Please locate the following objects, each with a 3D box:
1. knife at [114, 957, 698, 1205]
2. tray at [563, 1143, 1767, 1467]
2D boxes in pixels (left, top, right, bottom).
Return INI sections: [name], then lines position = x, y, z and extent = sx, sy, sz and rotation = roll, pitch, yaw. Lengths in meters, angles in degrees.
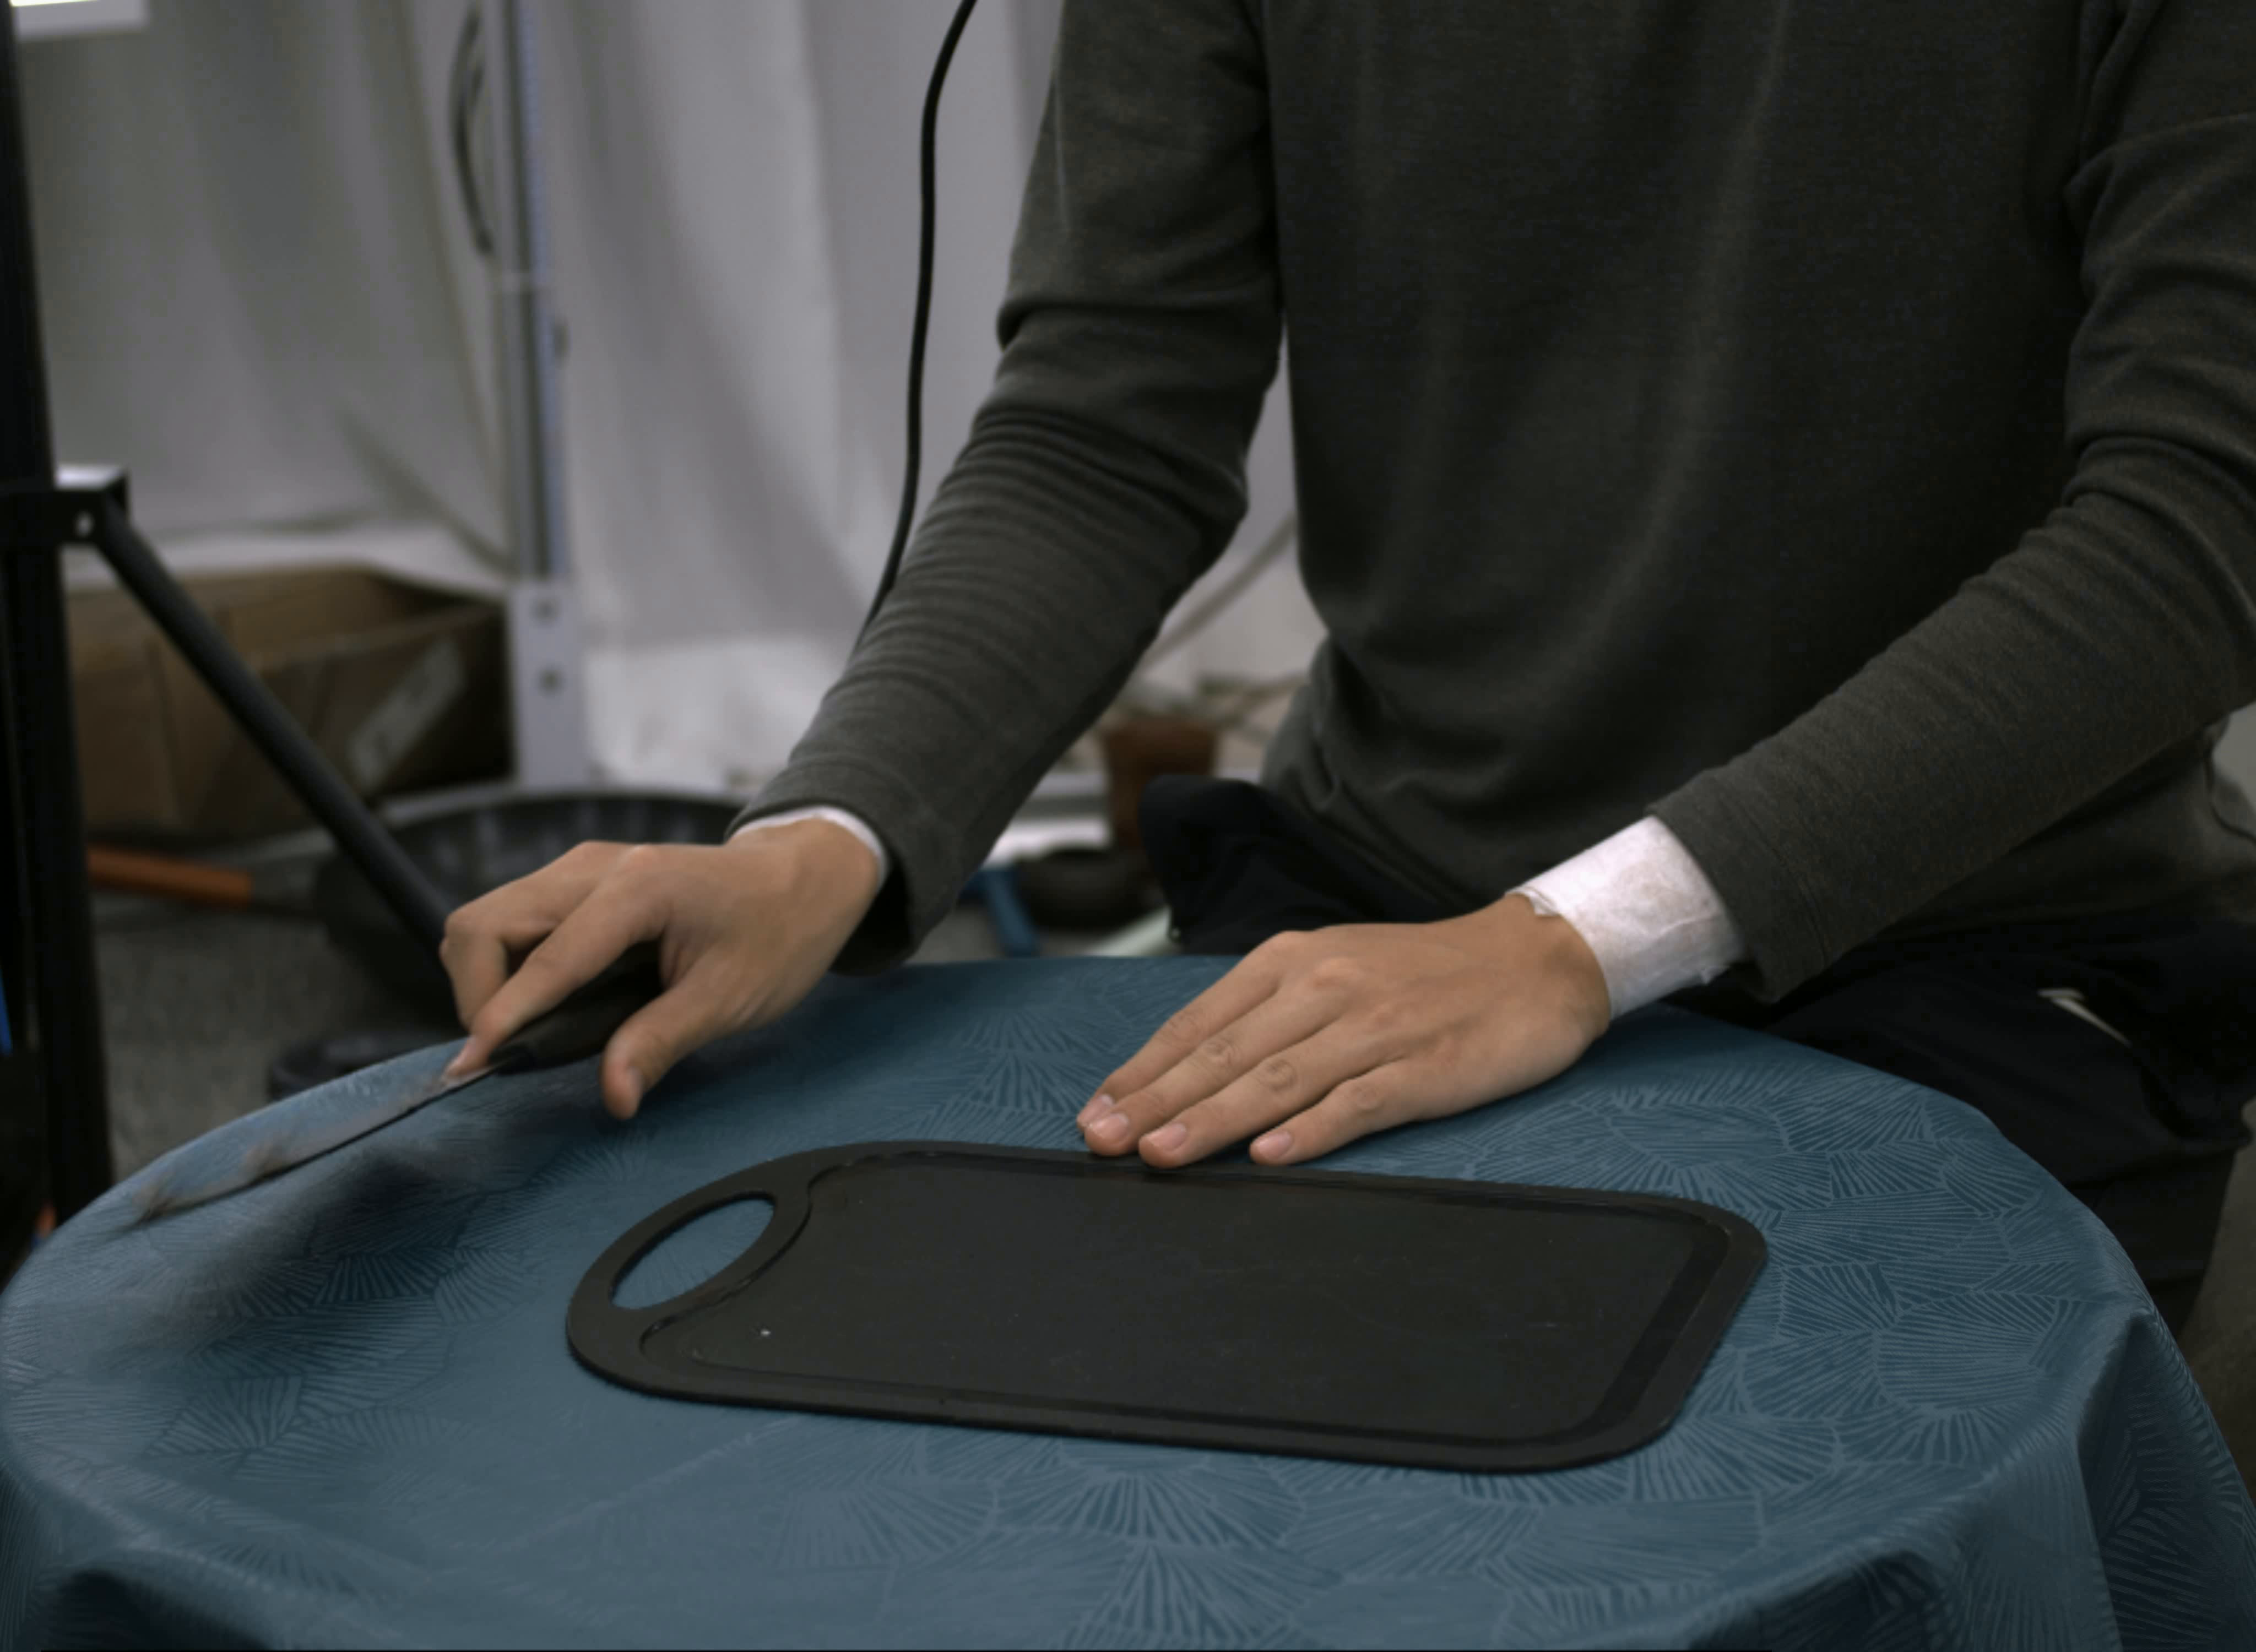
[knife]
position = -0.205, 0.076, 1.593
extent = 0.082, 0.021, 0.297
rotation = -17, 3, 24
[tray]
position = 0.006, 0.129, 1.477
extent = 0.329, 0.010, 0.208
rotation = 3, 16, 20
